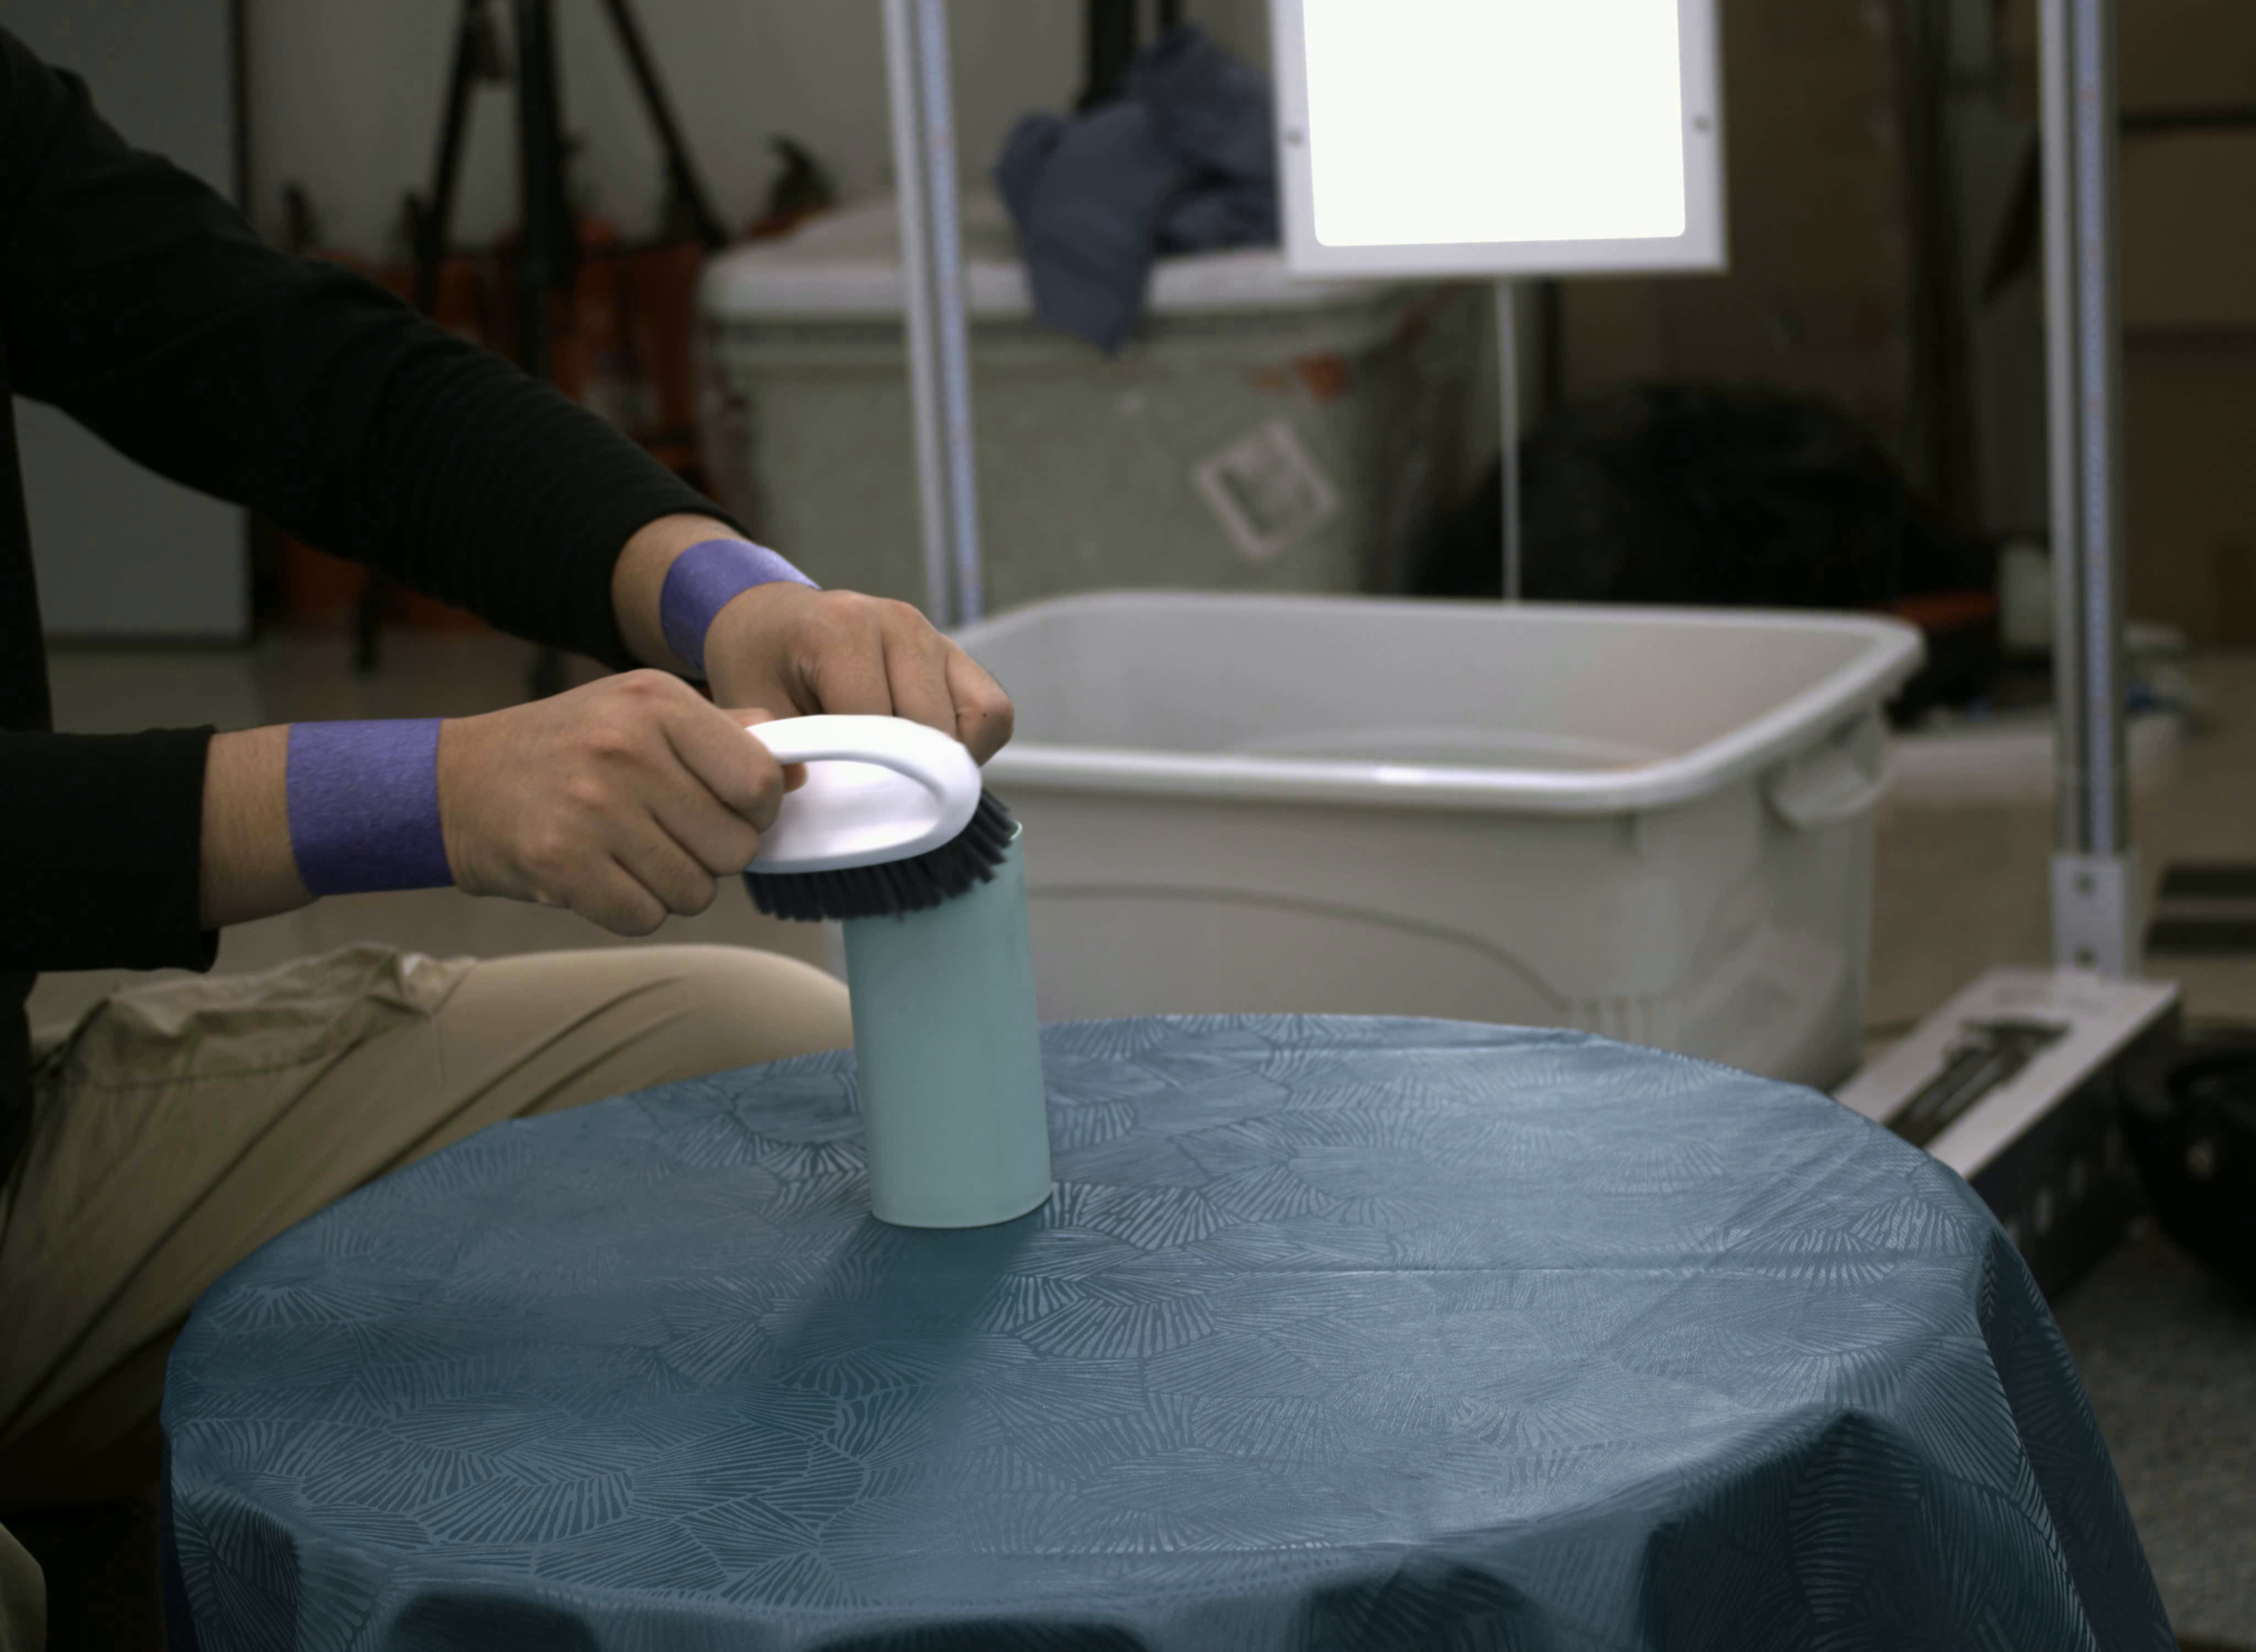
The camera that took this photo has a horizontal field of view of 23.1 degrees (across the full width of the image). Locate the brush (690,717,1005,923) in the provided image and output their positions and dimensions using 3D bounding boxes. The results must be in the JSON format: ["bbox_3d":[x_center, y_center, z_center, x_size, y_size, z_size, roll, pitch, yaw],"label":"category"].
[{"bbox_3d":[-0.099,-0.009,1.823,0.101,0.072,0.050,-3,54,27],"label":"brush"}]

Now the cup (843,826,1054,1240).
[{"bbox_3d":[-0.062,0.070,1.889,0.066,0.133,0.066,-5,15,0],"label":"cup"}]
